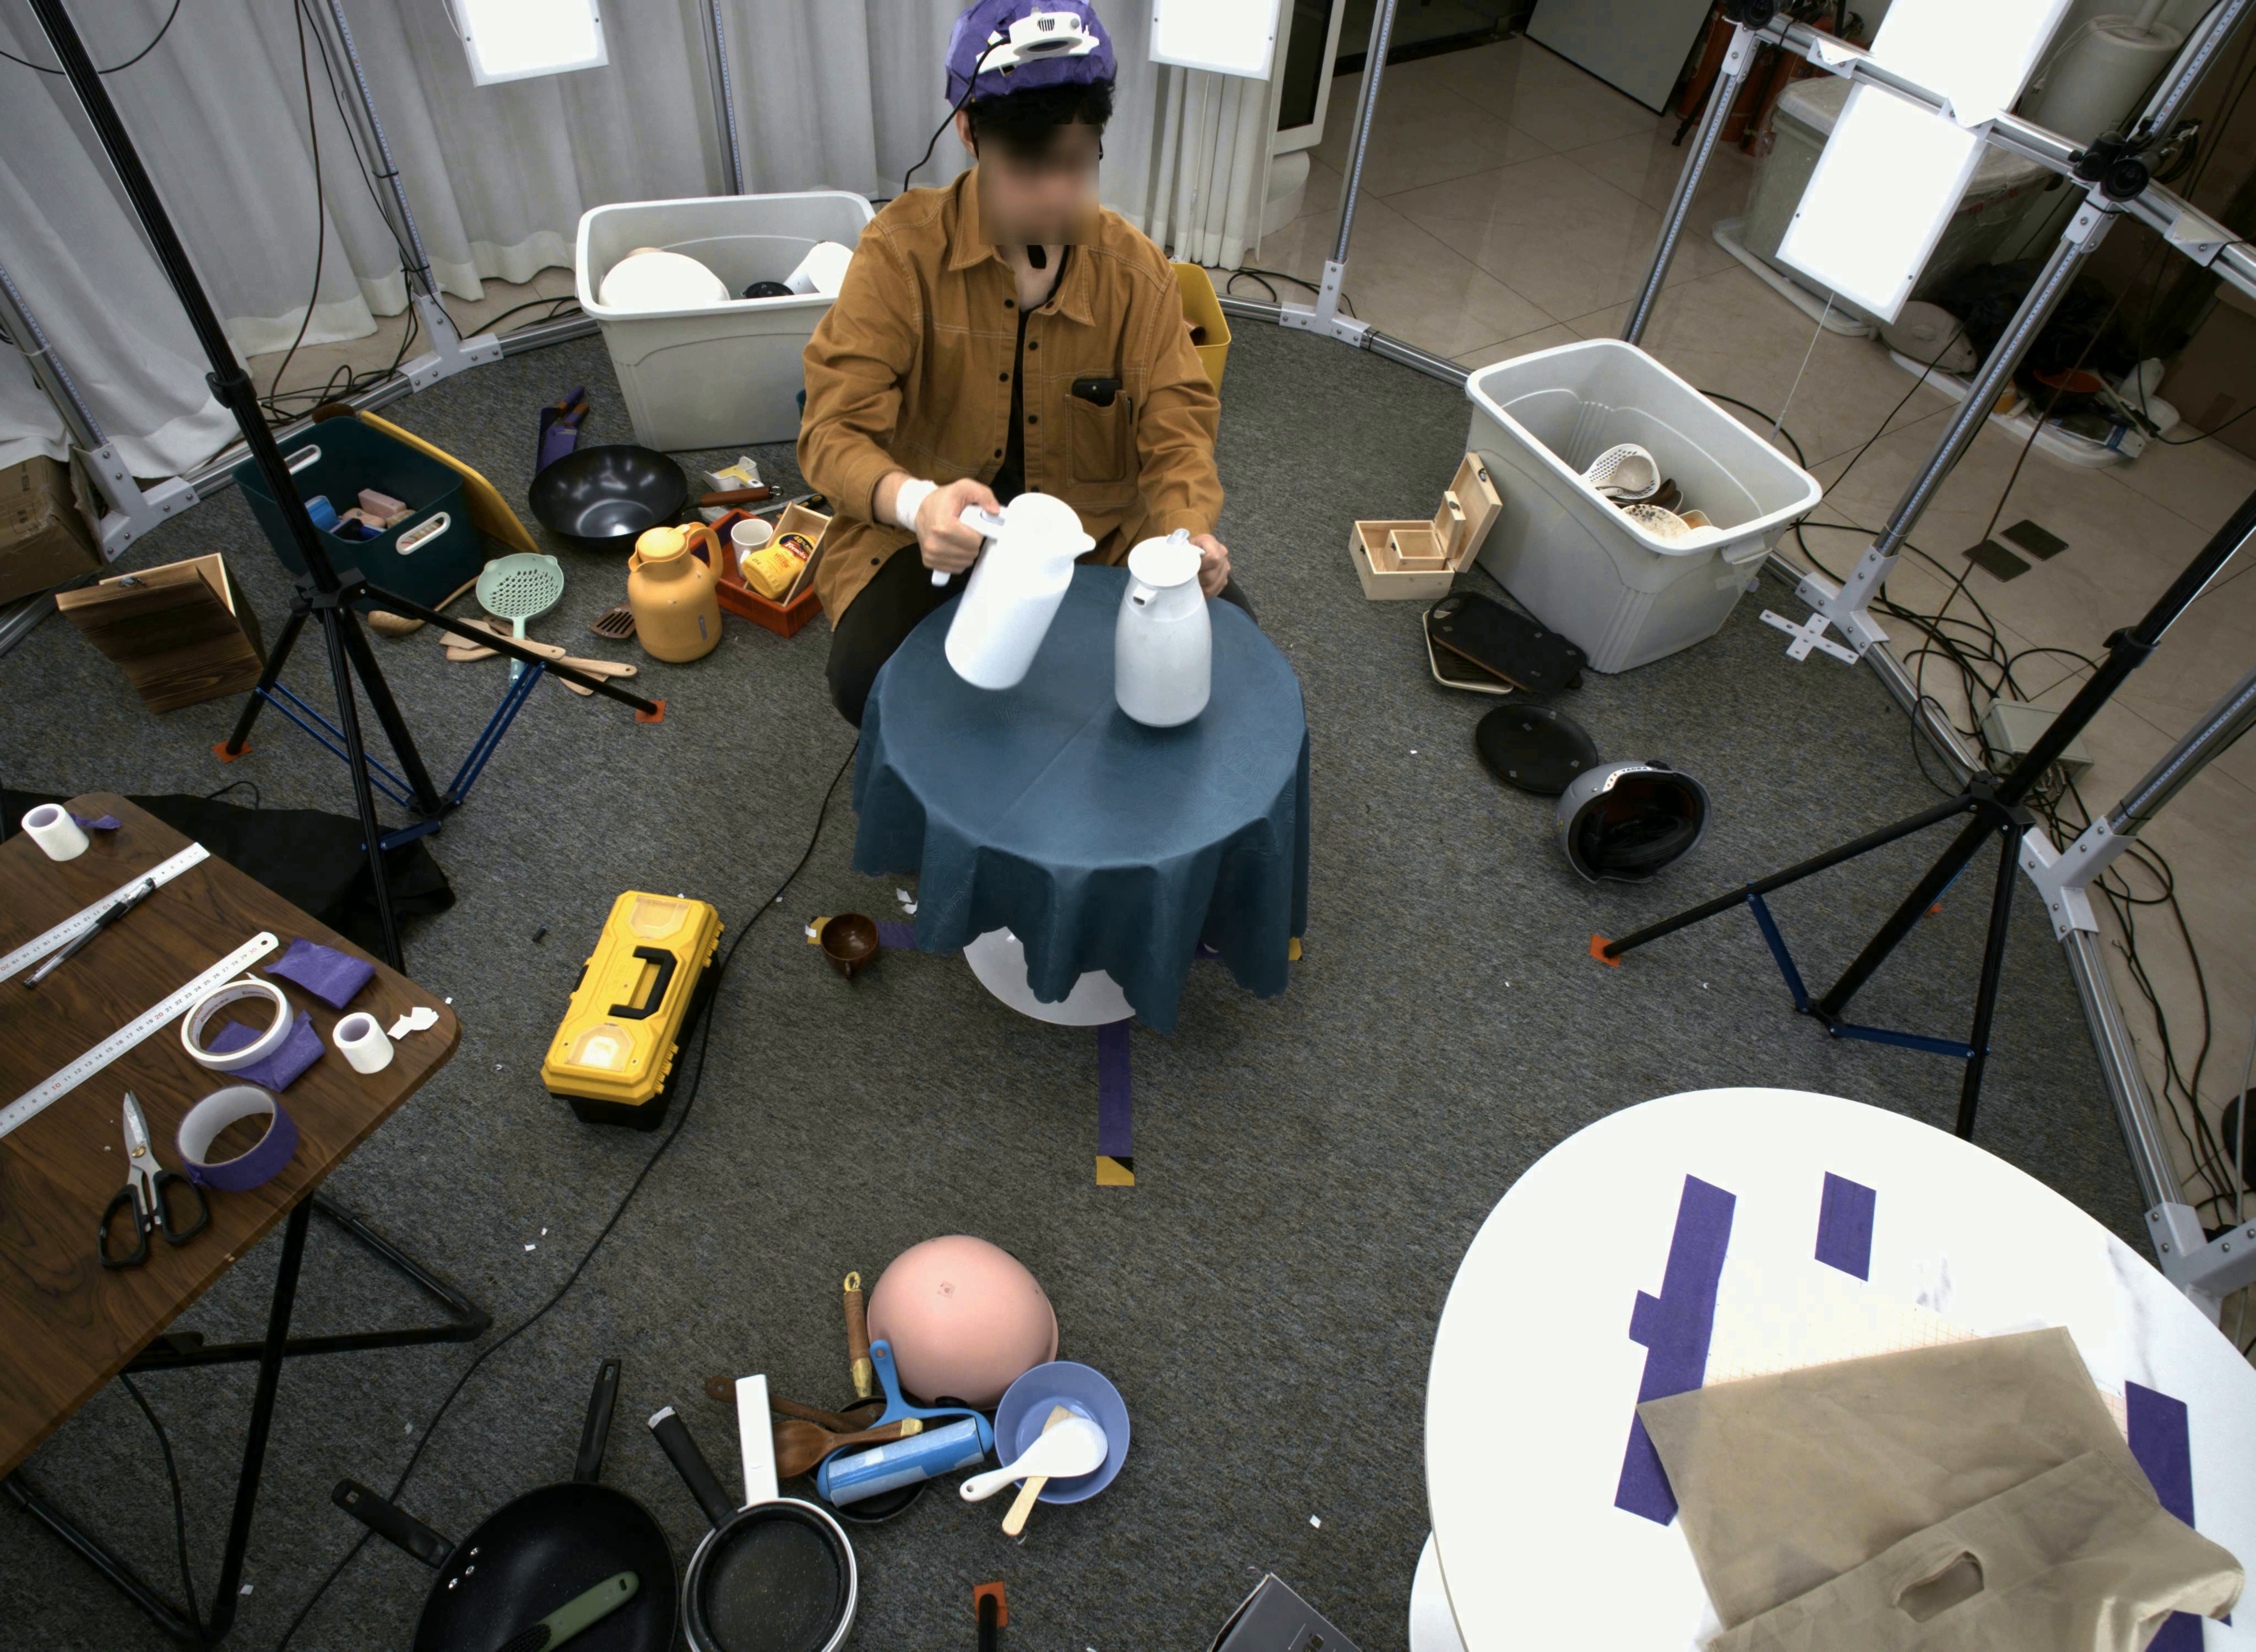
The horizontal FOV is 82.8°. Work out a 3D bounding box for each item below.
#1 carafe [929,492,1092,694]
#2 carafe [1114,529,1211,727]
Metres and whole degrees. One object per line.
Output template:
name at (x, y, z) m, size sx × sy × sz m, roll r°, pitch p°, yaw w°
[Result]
carafe at (-0.164, -0.293, 1.628) m, size 0.172 × 0.264 × 0.127 m, roll 14°, pitch 56°, yaw -14°
carafe at (0.055, -0.274, 1.698) m, size 0.133 × 0.242 × 0.170 m, roll 24°, pitch 56°, yaw 19°
